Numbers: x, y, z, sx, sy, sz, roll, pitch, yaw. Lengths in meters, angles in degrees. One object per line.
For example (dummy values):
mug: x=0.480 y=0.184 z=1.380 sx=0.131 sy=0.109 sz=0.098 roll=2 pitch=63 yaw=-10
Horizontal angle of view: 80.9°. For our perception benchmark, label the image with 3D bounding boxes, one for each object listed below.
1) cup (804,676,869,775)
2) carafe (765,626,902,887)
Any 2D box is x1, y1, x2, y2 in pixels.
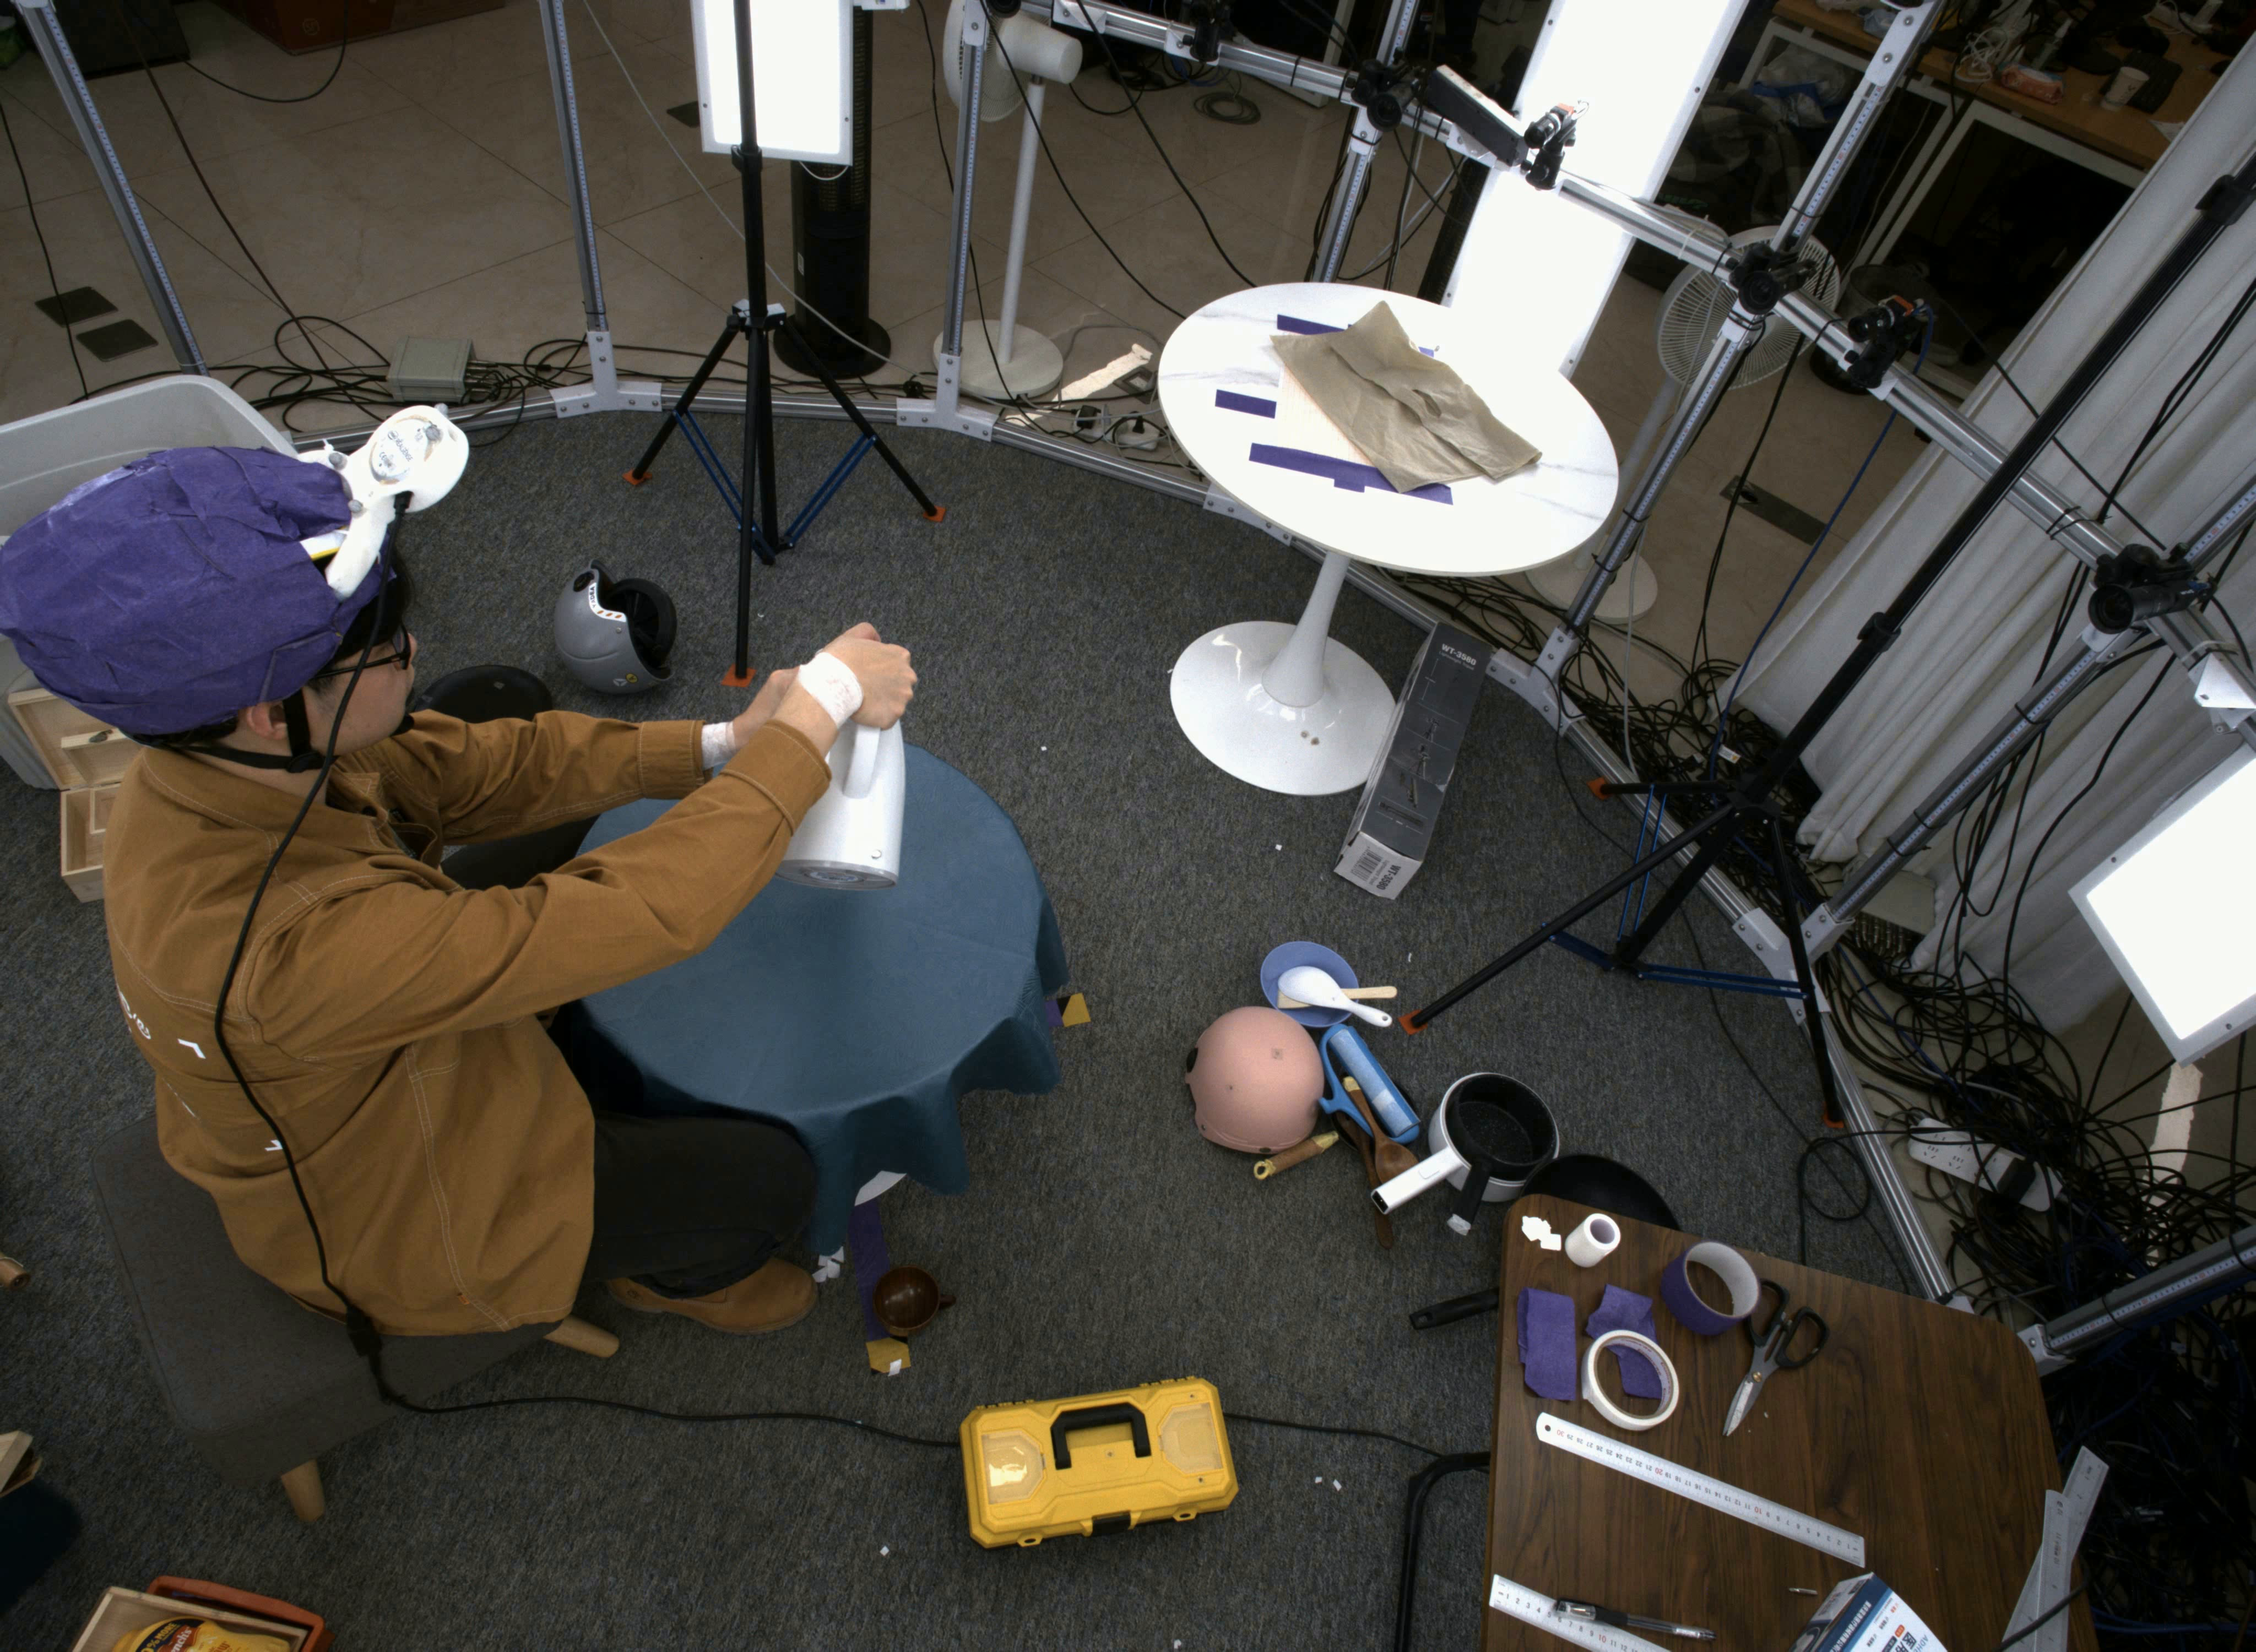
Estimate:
cup: x=-0.349 y=-0.116 z=1.536 sx=0.067 sy=0.132 sz=0.066 roll=7 pitch=66 yaw=-16
carafe: x=-0.291 y=-0.076 z=1.344 sx=0.134 sy=0.165 sz=0.249 roll=9 pitch=77 yaw=-24
